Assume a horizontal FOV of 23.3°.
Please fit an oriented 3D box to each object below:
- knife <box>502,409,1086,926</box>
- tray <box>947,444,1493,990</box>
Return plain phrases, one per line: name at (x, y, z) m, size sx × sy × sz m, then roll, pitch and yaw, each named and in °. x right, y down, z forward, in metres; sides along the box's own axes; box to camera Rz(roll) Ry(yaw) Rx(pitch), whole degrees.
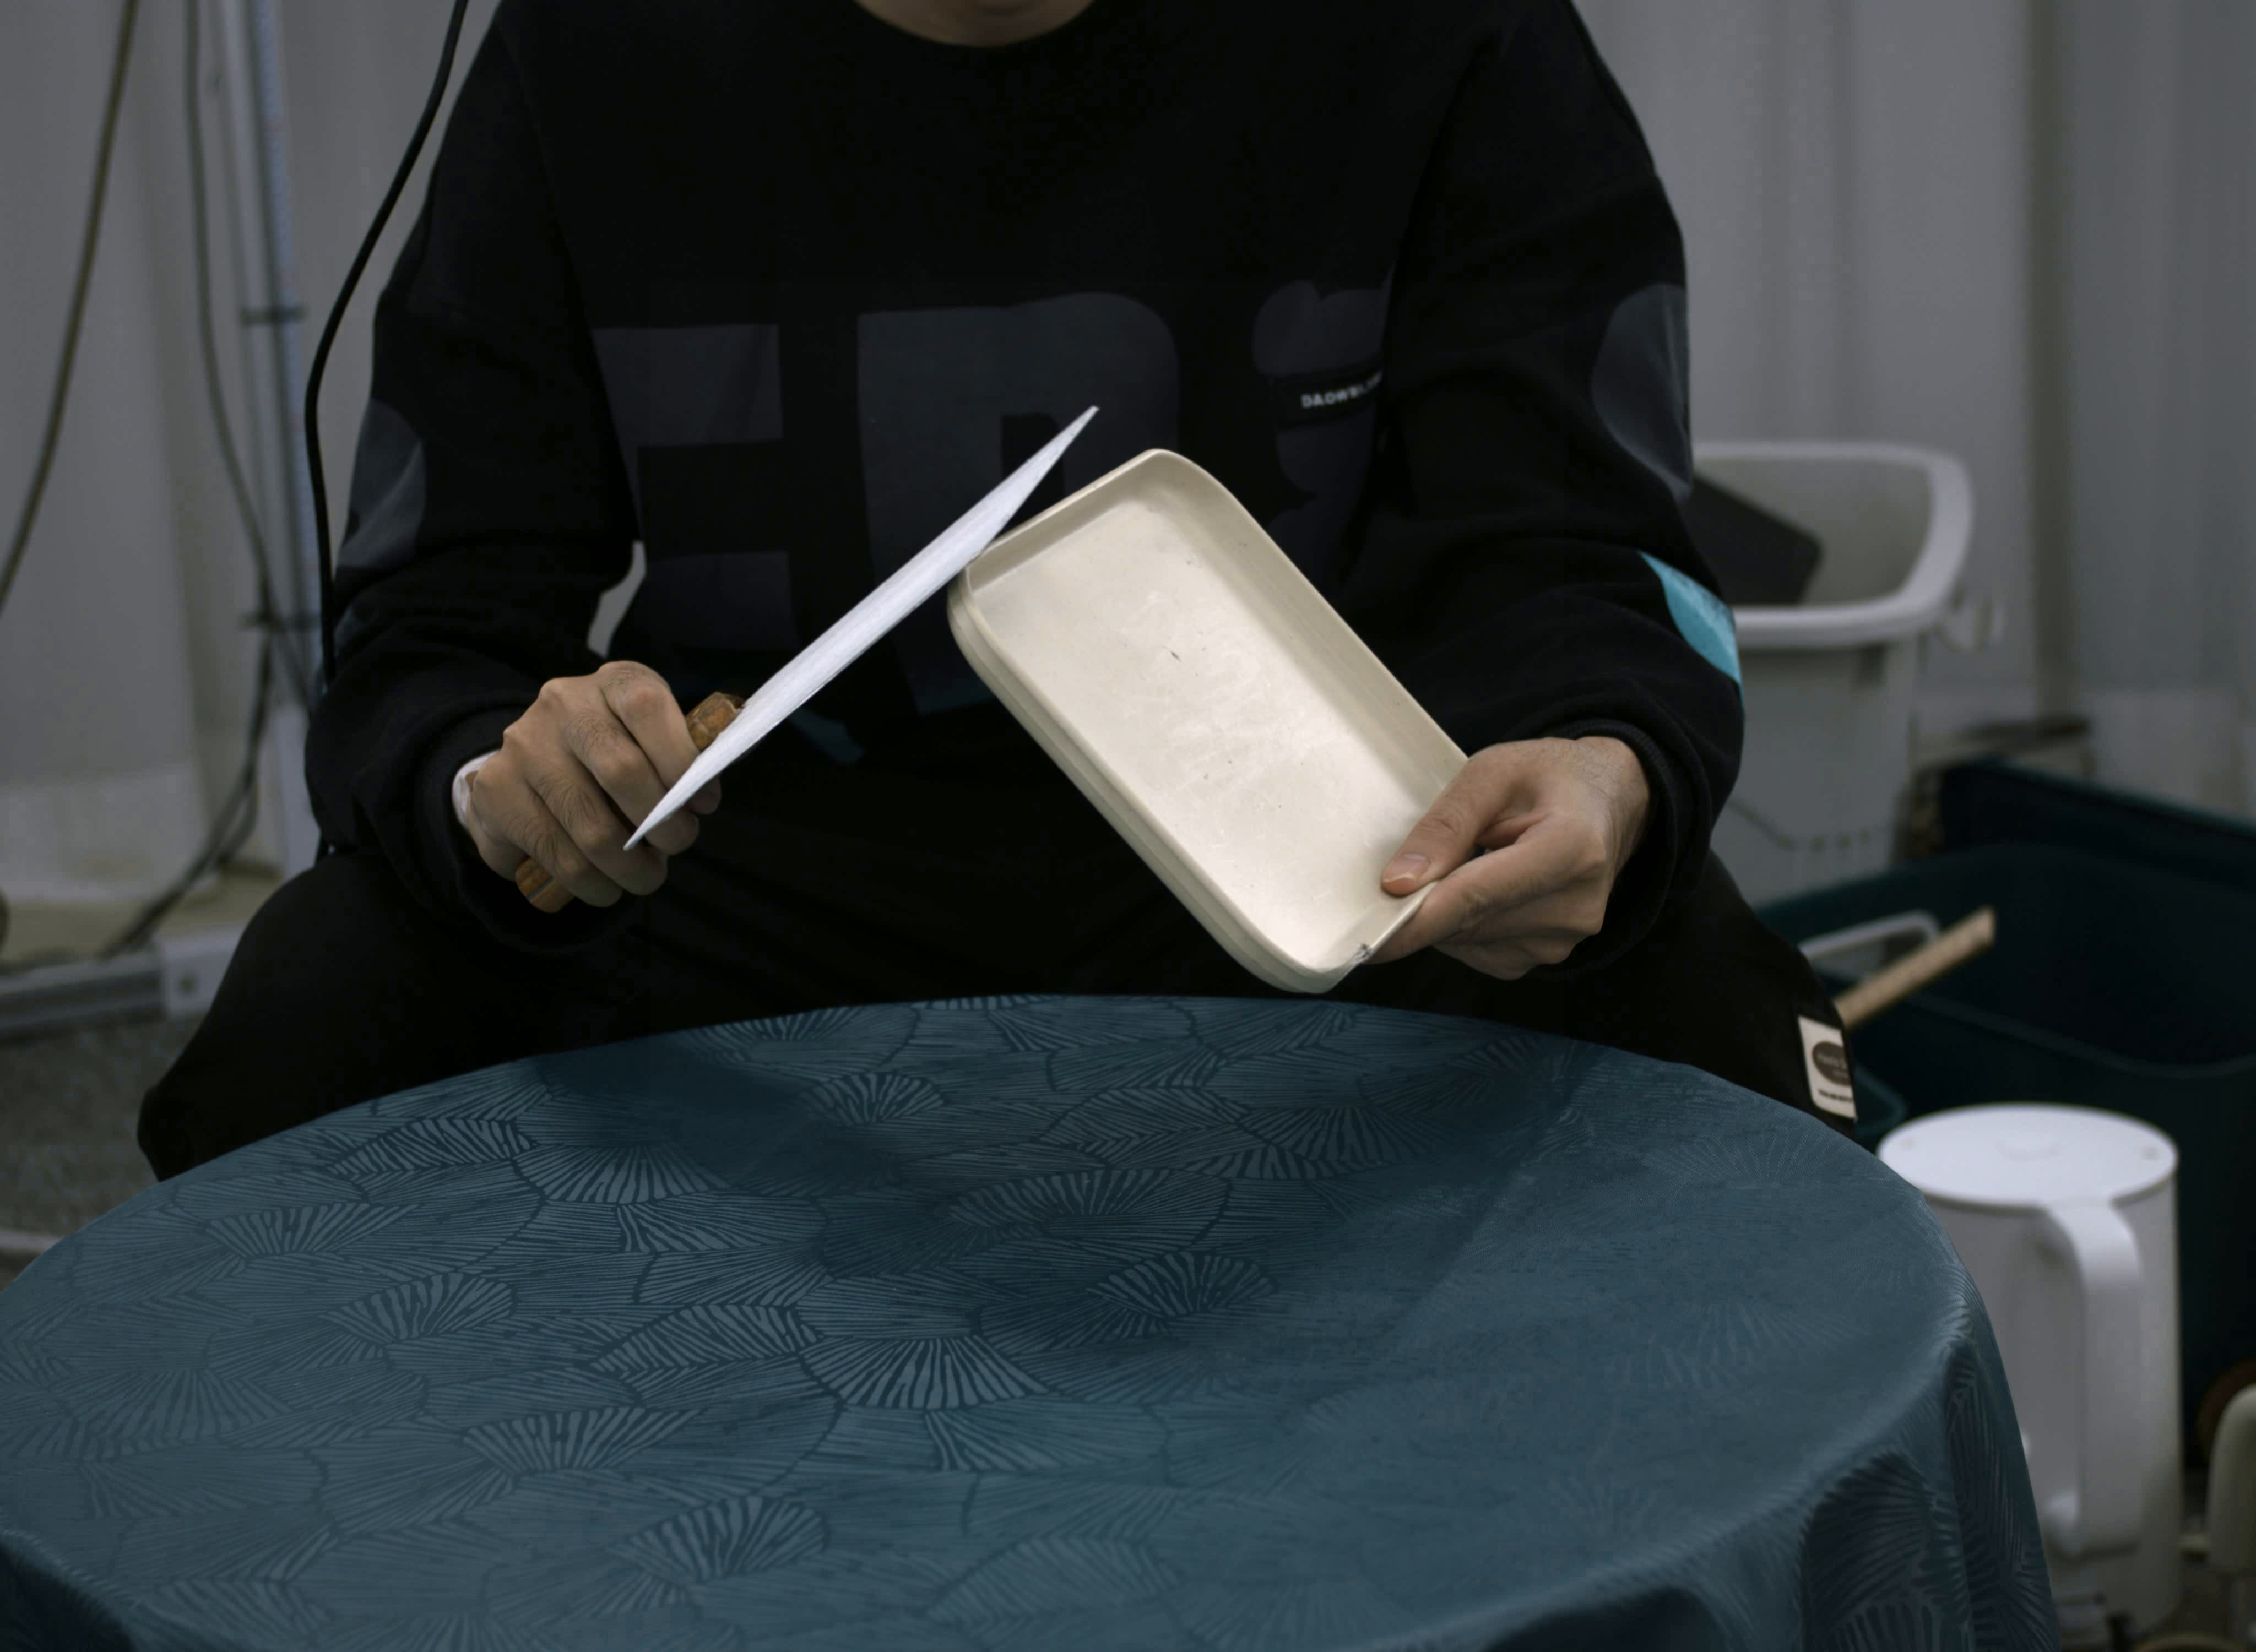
knife at (-0.118, -0.035, 1.724) m, size 0.304 × 0.021 × 0.094 m, roll -37°, pitch 13°, yaw 40°
tray at (0.030, -0.035, 1.704) m, size 0.017 × 0.171 × 0.240 m, roll -43°, pitch -3°, yaw 23°
